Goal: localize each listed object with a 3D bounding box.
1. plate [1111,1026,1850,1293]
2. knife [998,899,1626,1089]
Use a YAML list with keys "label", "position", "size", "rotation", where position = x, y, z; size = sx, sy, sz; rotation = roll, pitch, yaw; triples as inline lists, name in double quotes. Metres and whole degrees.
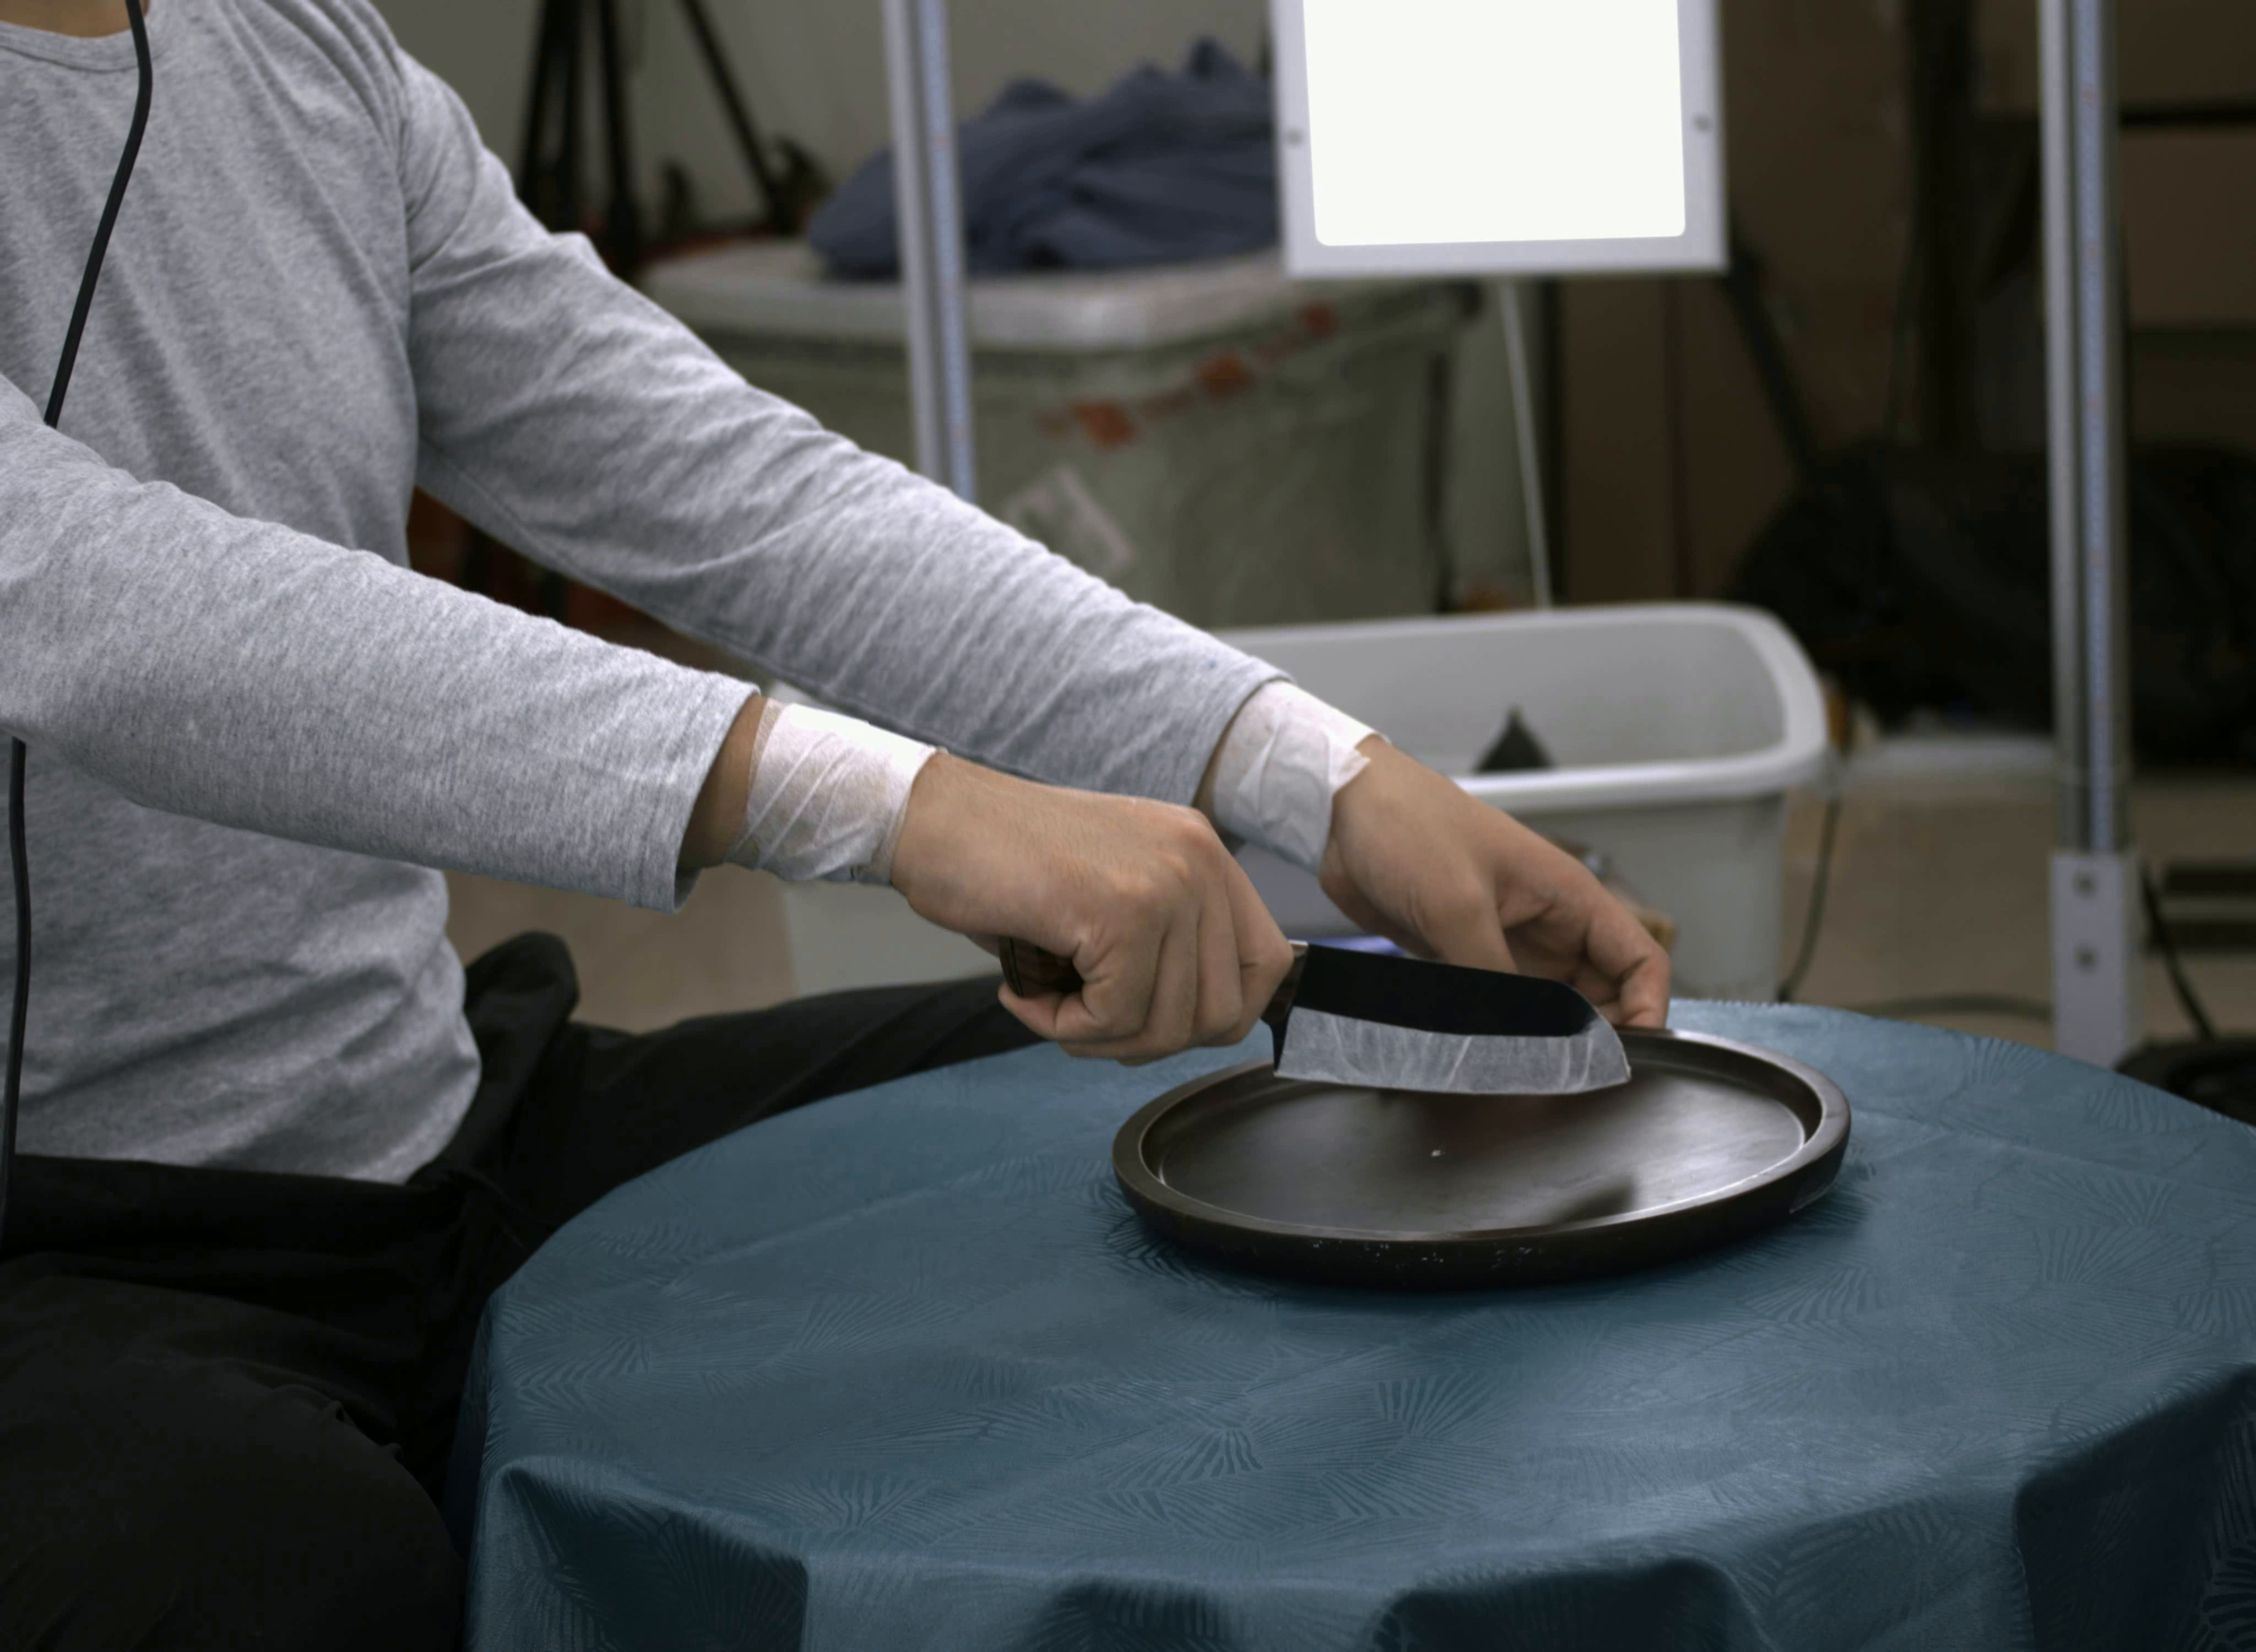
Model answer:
- label: "plate"
  position: [0.120, 0.111, 1.873]
  size: [0.254, 0.029, 0.254]
  rotation: [-7, 14, 0]
- label: "knife"
  position: [0.067, 0.056, 1.782]
  size: [0.282, 0.050, 0.020]
  rotation: [13, 1, -41]
